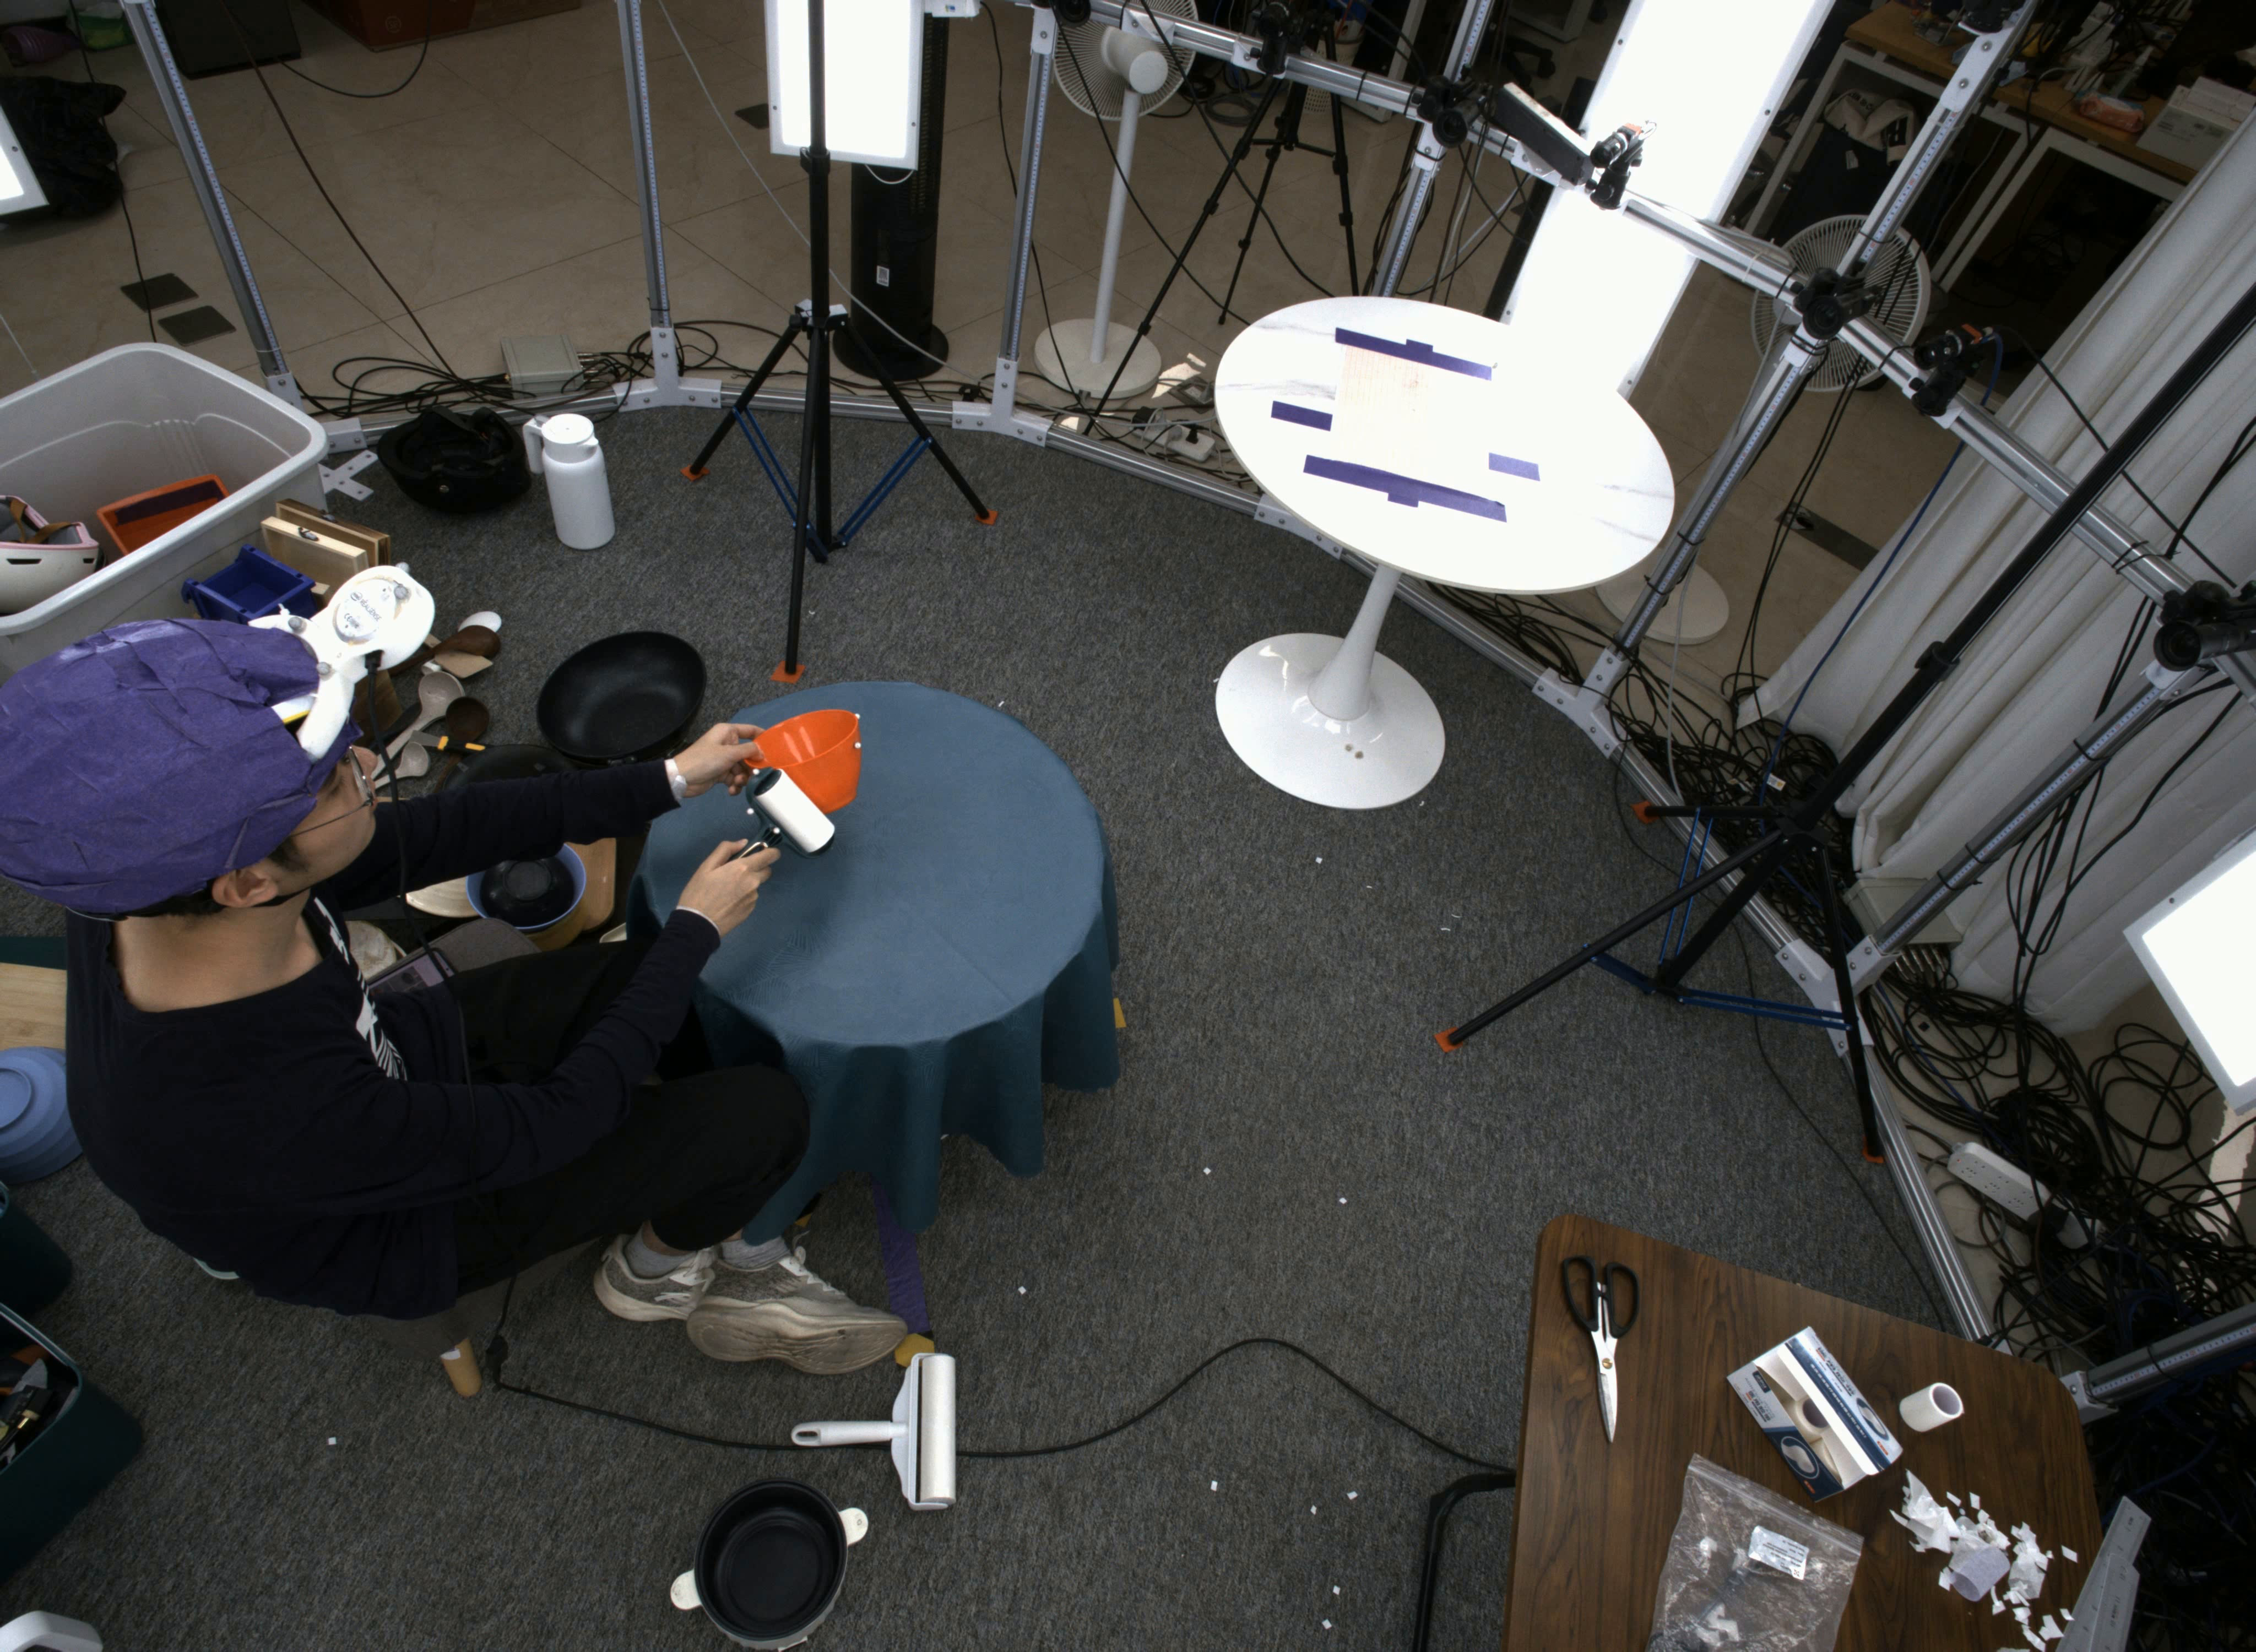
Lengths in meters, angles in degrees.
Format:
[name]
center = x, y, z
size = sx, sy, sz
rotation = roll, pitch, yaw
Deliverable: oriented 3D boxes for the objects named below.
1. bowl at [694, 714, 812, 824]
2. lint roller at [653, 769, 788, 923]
[bowl]
center = -0.453, -0.064, 1.611
size = 0.146, 0.108, 0.145
rotation = -19, 24, 10
[lint roller]
center = -0.494, 0.040, 1.522
size = 0.046, 0.139, 0.180
rotation = 7, 56, 45
